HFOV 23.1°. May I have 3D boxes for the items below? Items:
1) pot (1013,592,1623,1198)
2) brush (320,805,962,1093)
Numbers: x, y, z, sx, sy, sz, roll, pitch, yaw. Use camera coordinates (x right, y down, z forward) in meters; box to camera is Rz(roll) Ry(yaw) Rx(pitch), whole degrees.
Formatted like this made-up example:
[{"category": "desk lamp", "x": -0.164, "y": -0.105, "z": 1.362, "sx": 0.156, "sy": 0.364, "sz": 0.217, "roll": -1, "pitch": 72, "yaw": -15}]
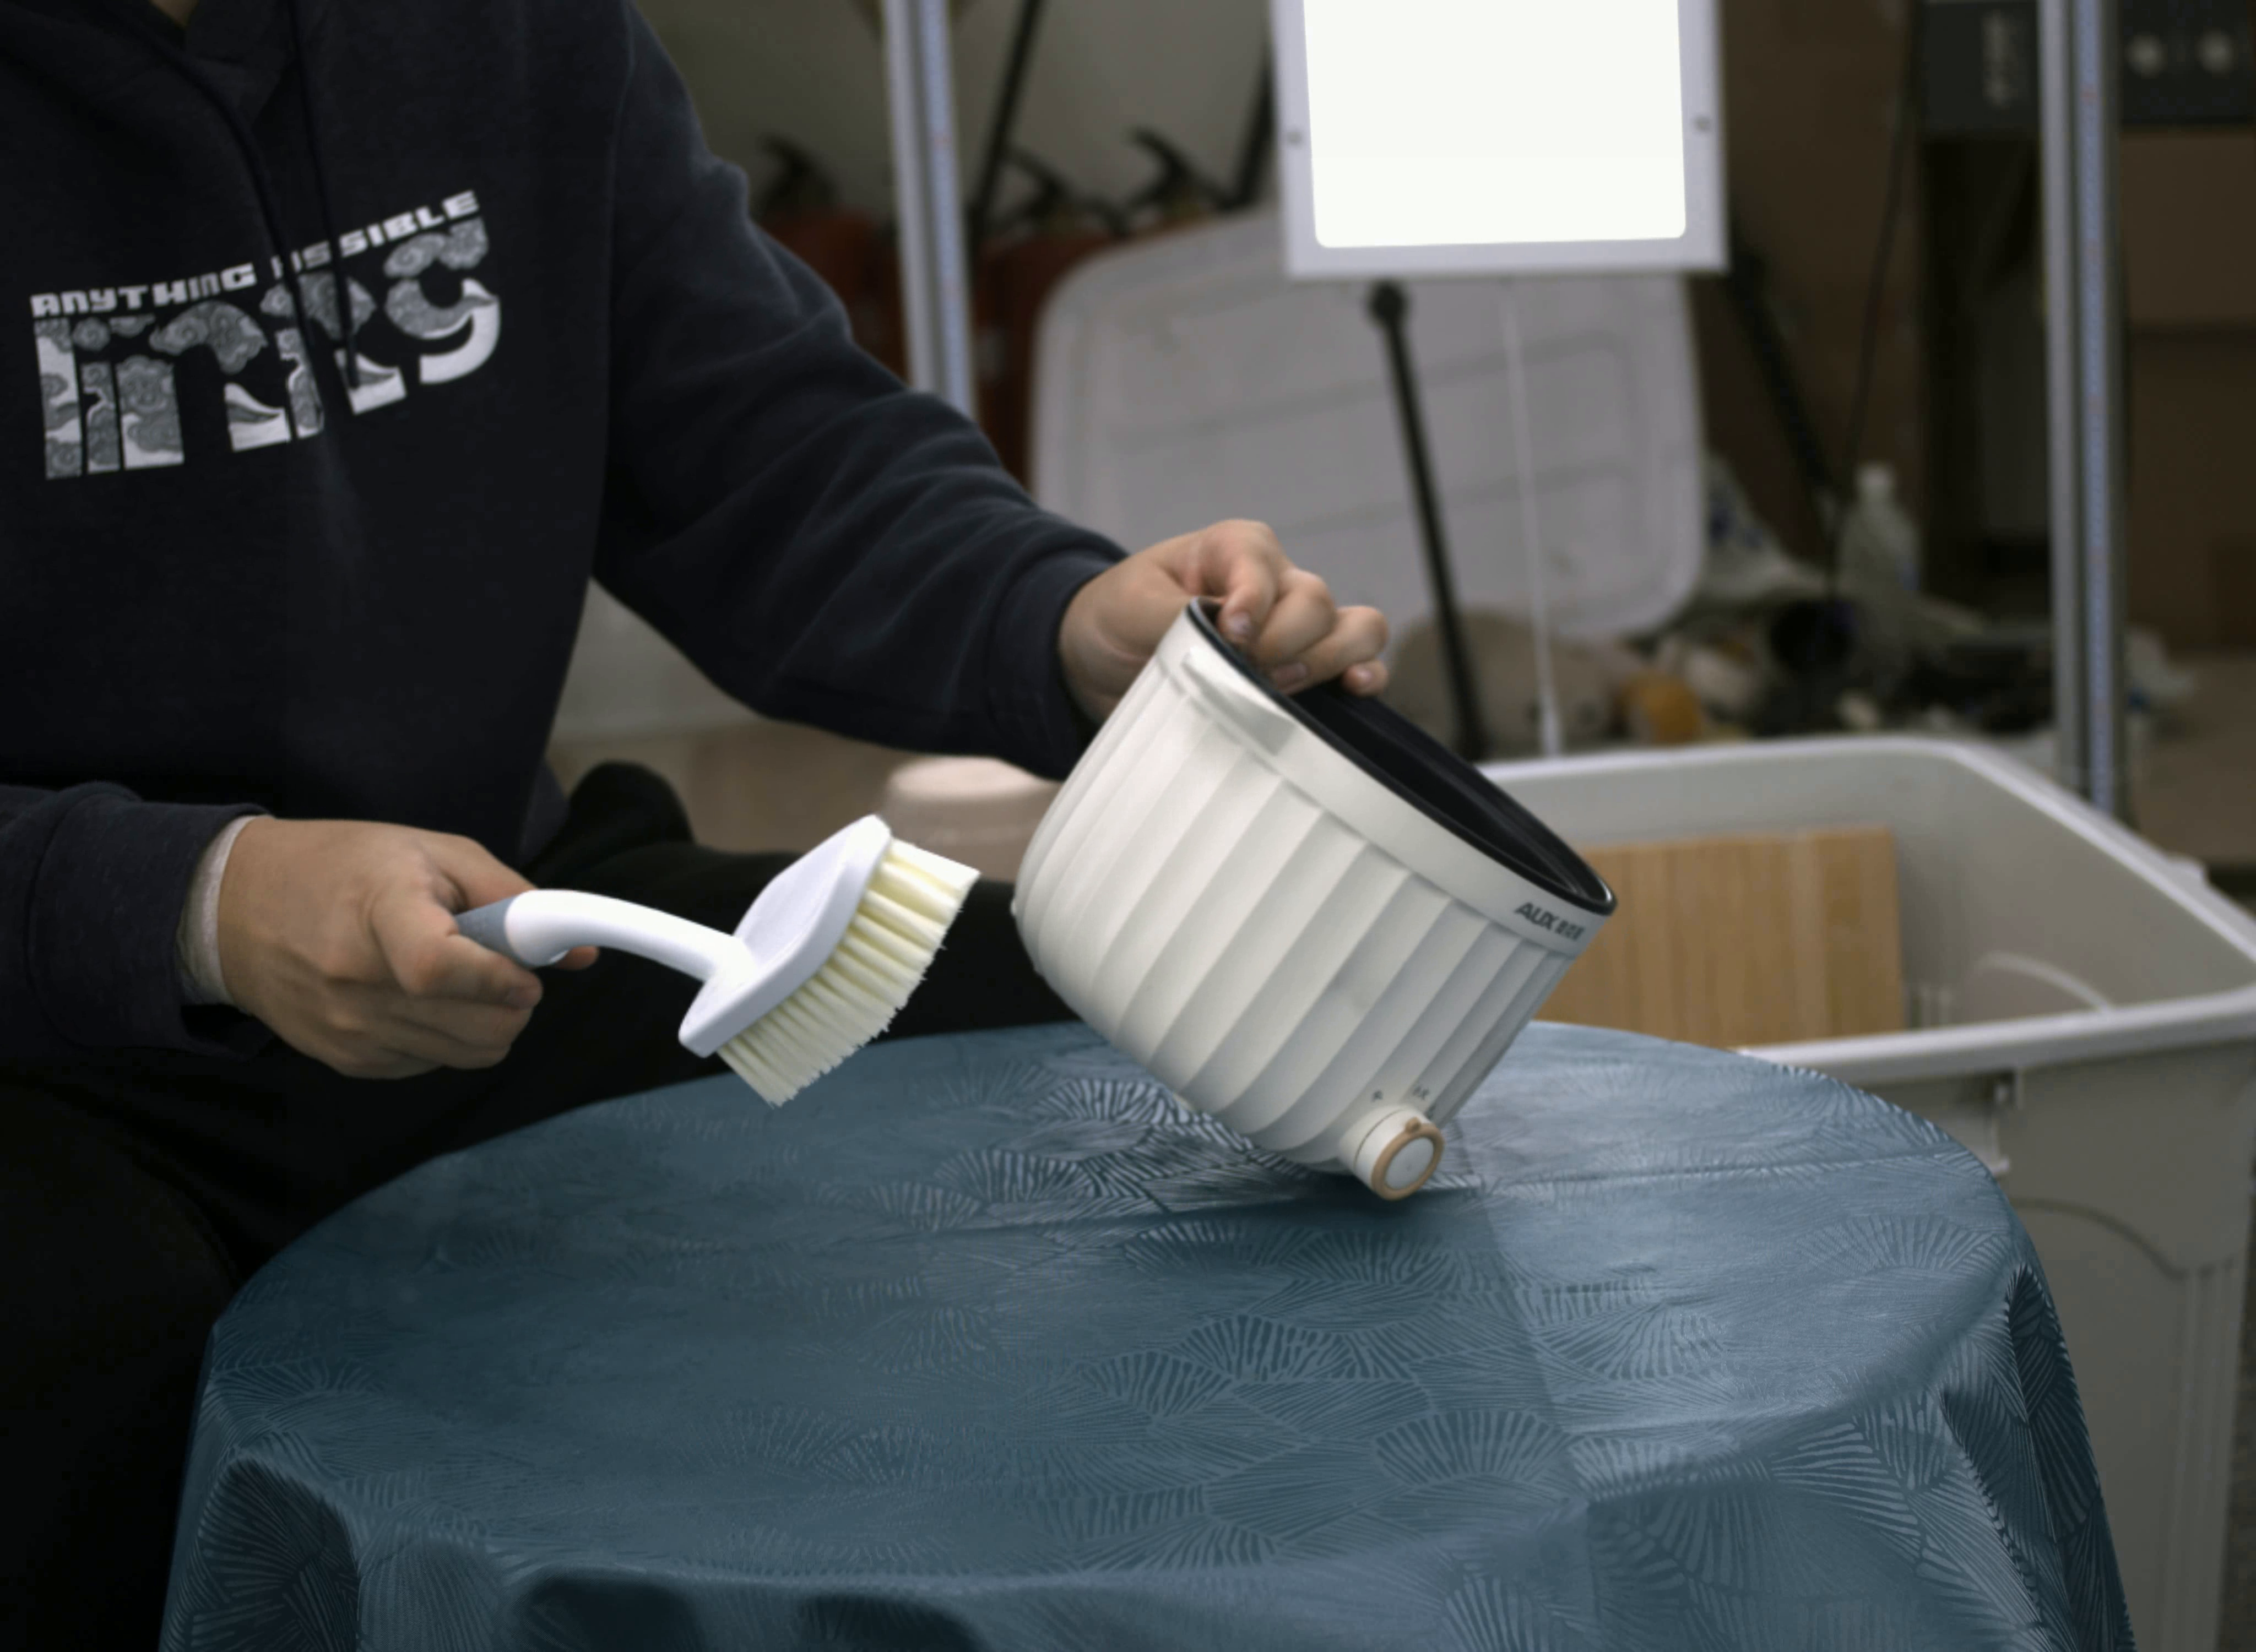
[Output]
[{"category": "pot", "x": 0.063, "y": 0.030, "z": 1.890, "sx": 0.193, "sy": 0.143, "sz": 0.235, "roll": 39, "pitch": 10, "yaw": 37}, {"category": "brush", "x": -0.147, "y": 0.049, "z": 1.762, "sx": 0.081, "sy": 0.085, "sz": 0.333, "roll": -16, "pitch": 0, "yaw": -37}]
